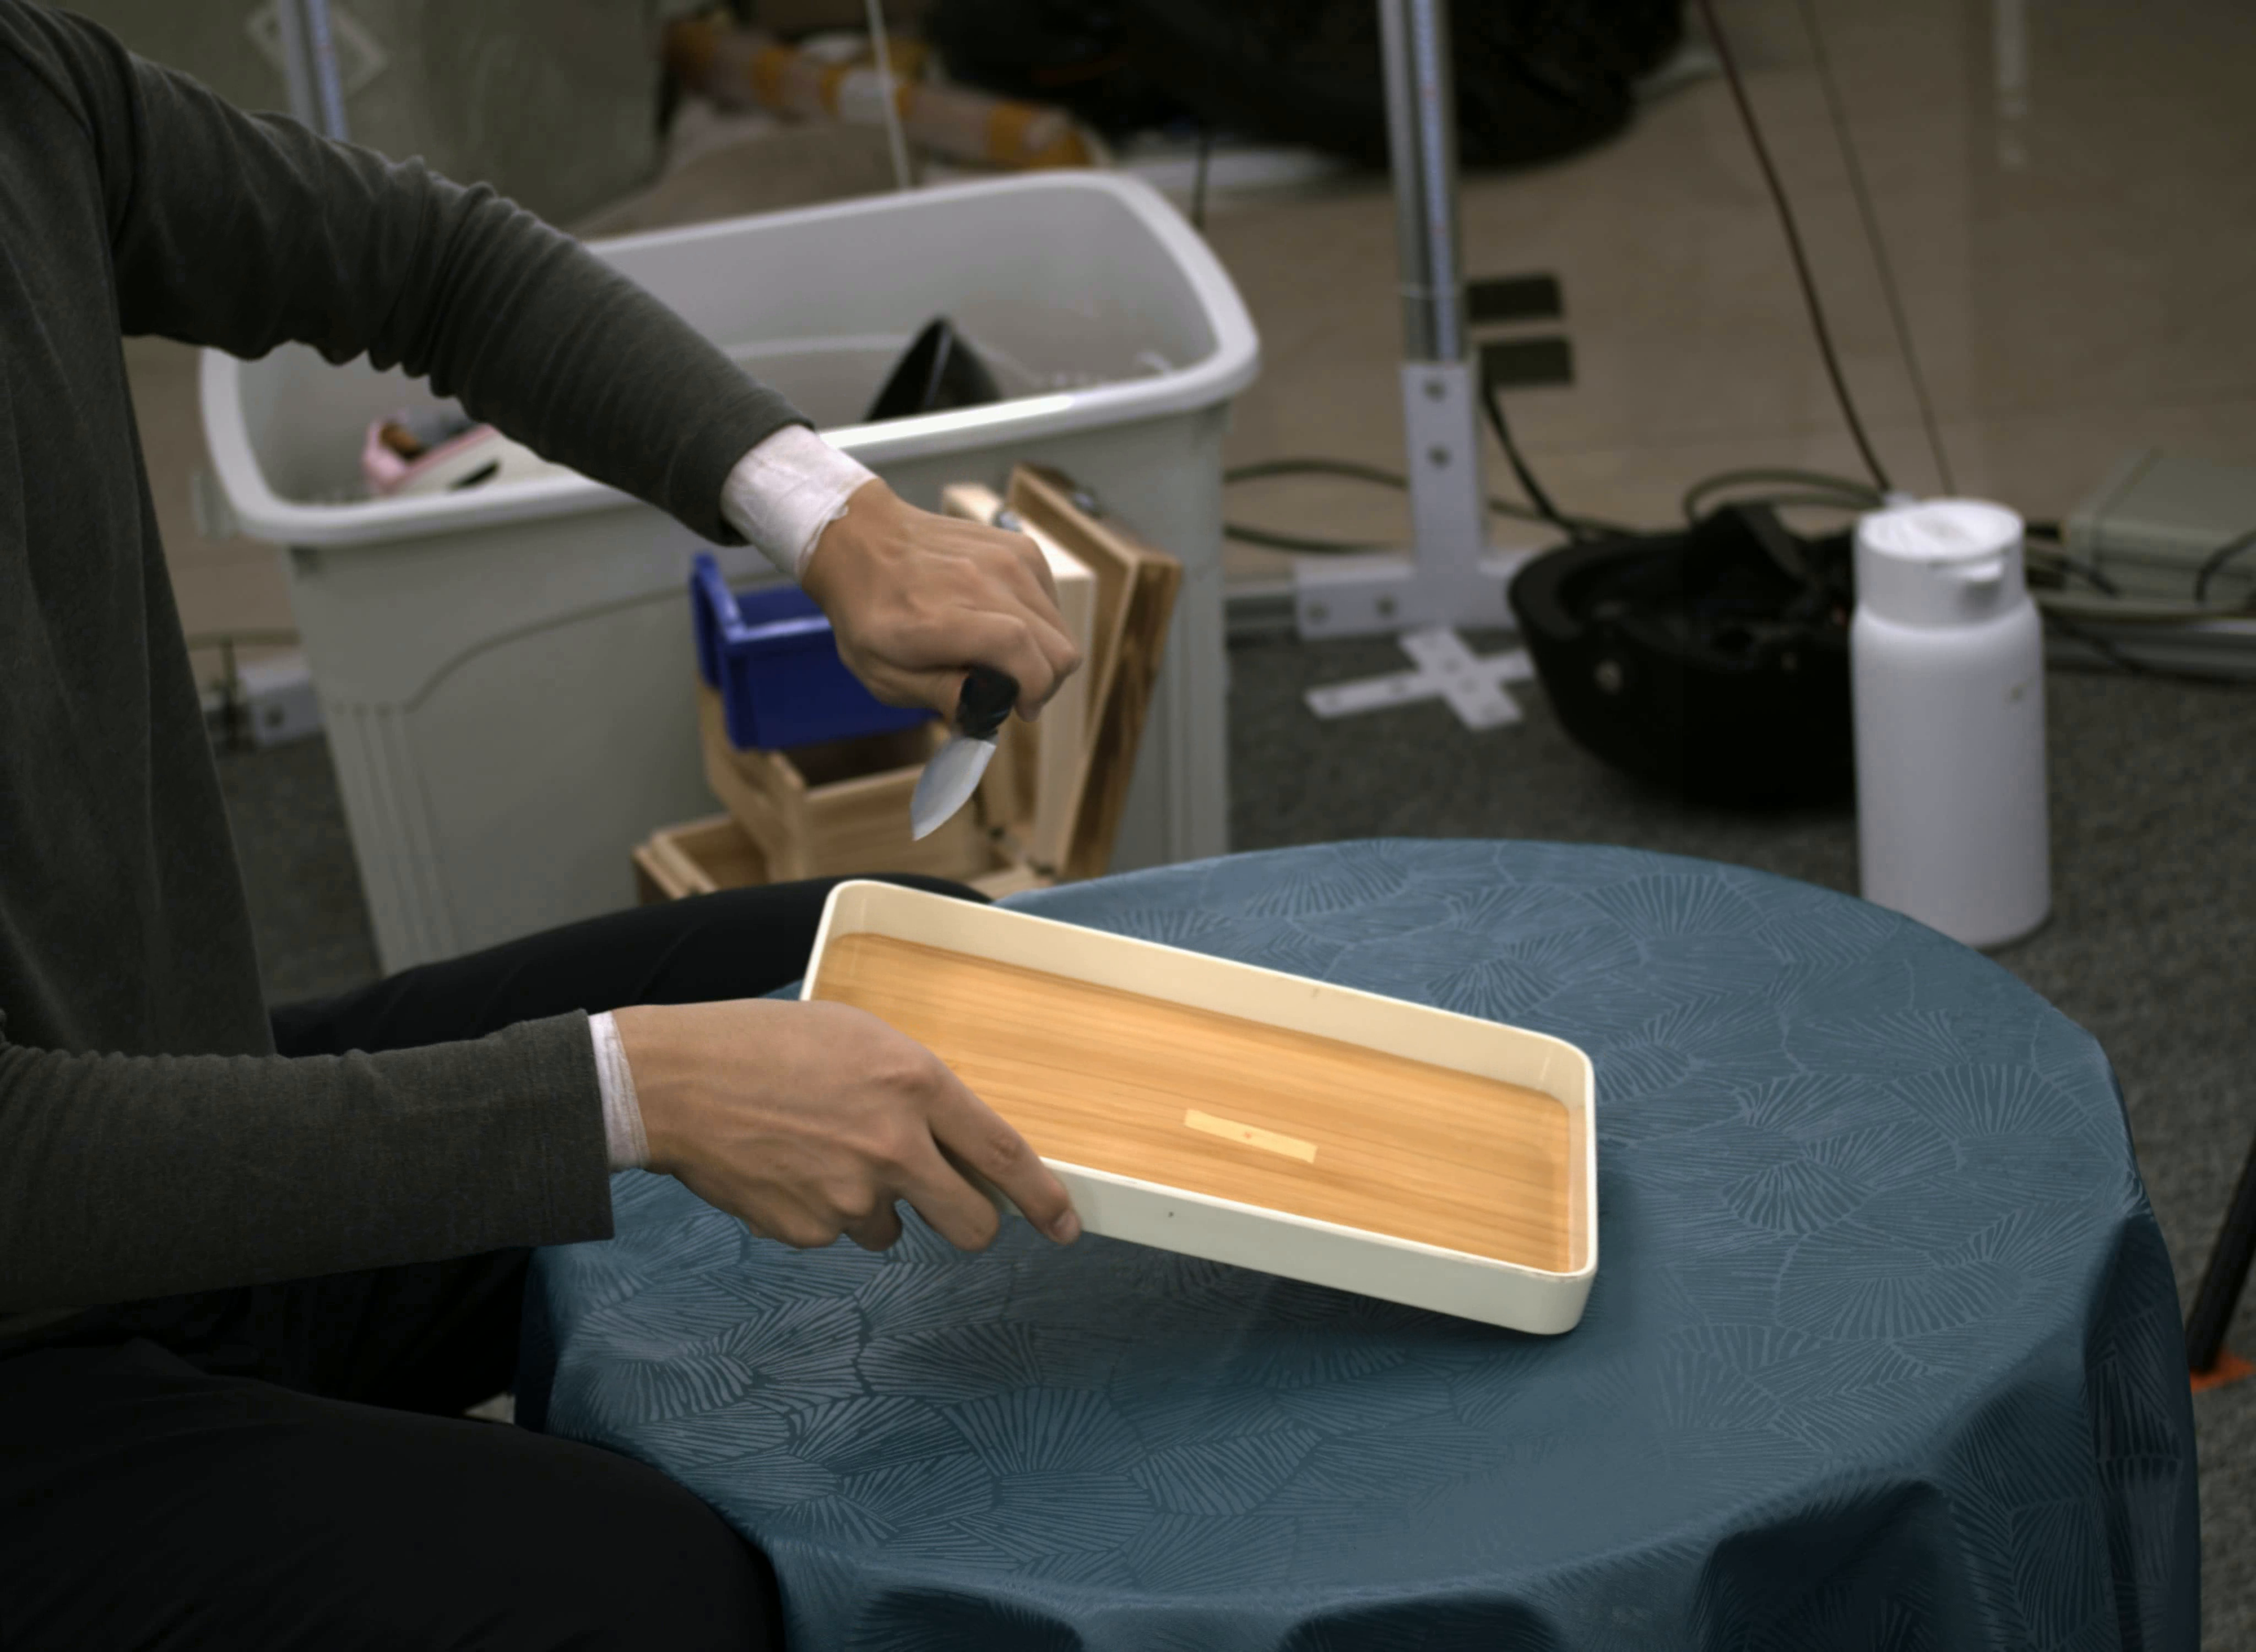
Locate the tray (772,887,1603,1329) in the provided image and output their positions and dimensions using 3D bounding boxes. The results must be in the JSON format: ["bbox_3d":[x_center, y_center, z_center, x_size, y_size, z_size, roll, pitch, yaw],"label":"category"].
[{"bbox_3d":[0.026,0.102,2.088,0.300,0.028,0.189,13,25,-1],"label":"tray"}]

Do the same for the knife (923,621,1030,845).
[{"bbox_3d":[-0.061,-0.037,2.186,0.024,0.016,0.235,25,22,-4],"label":"knife"}]
